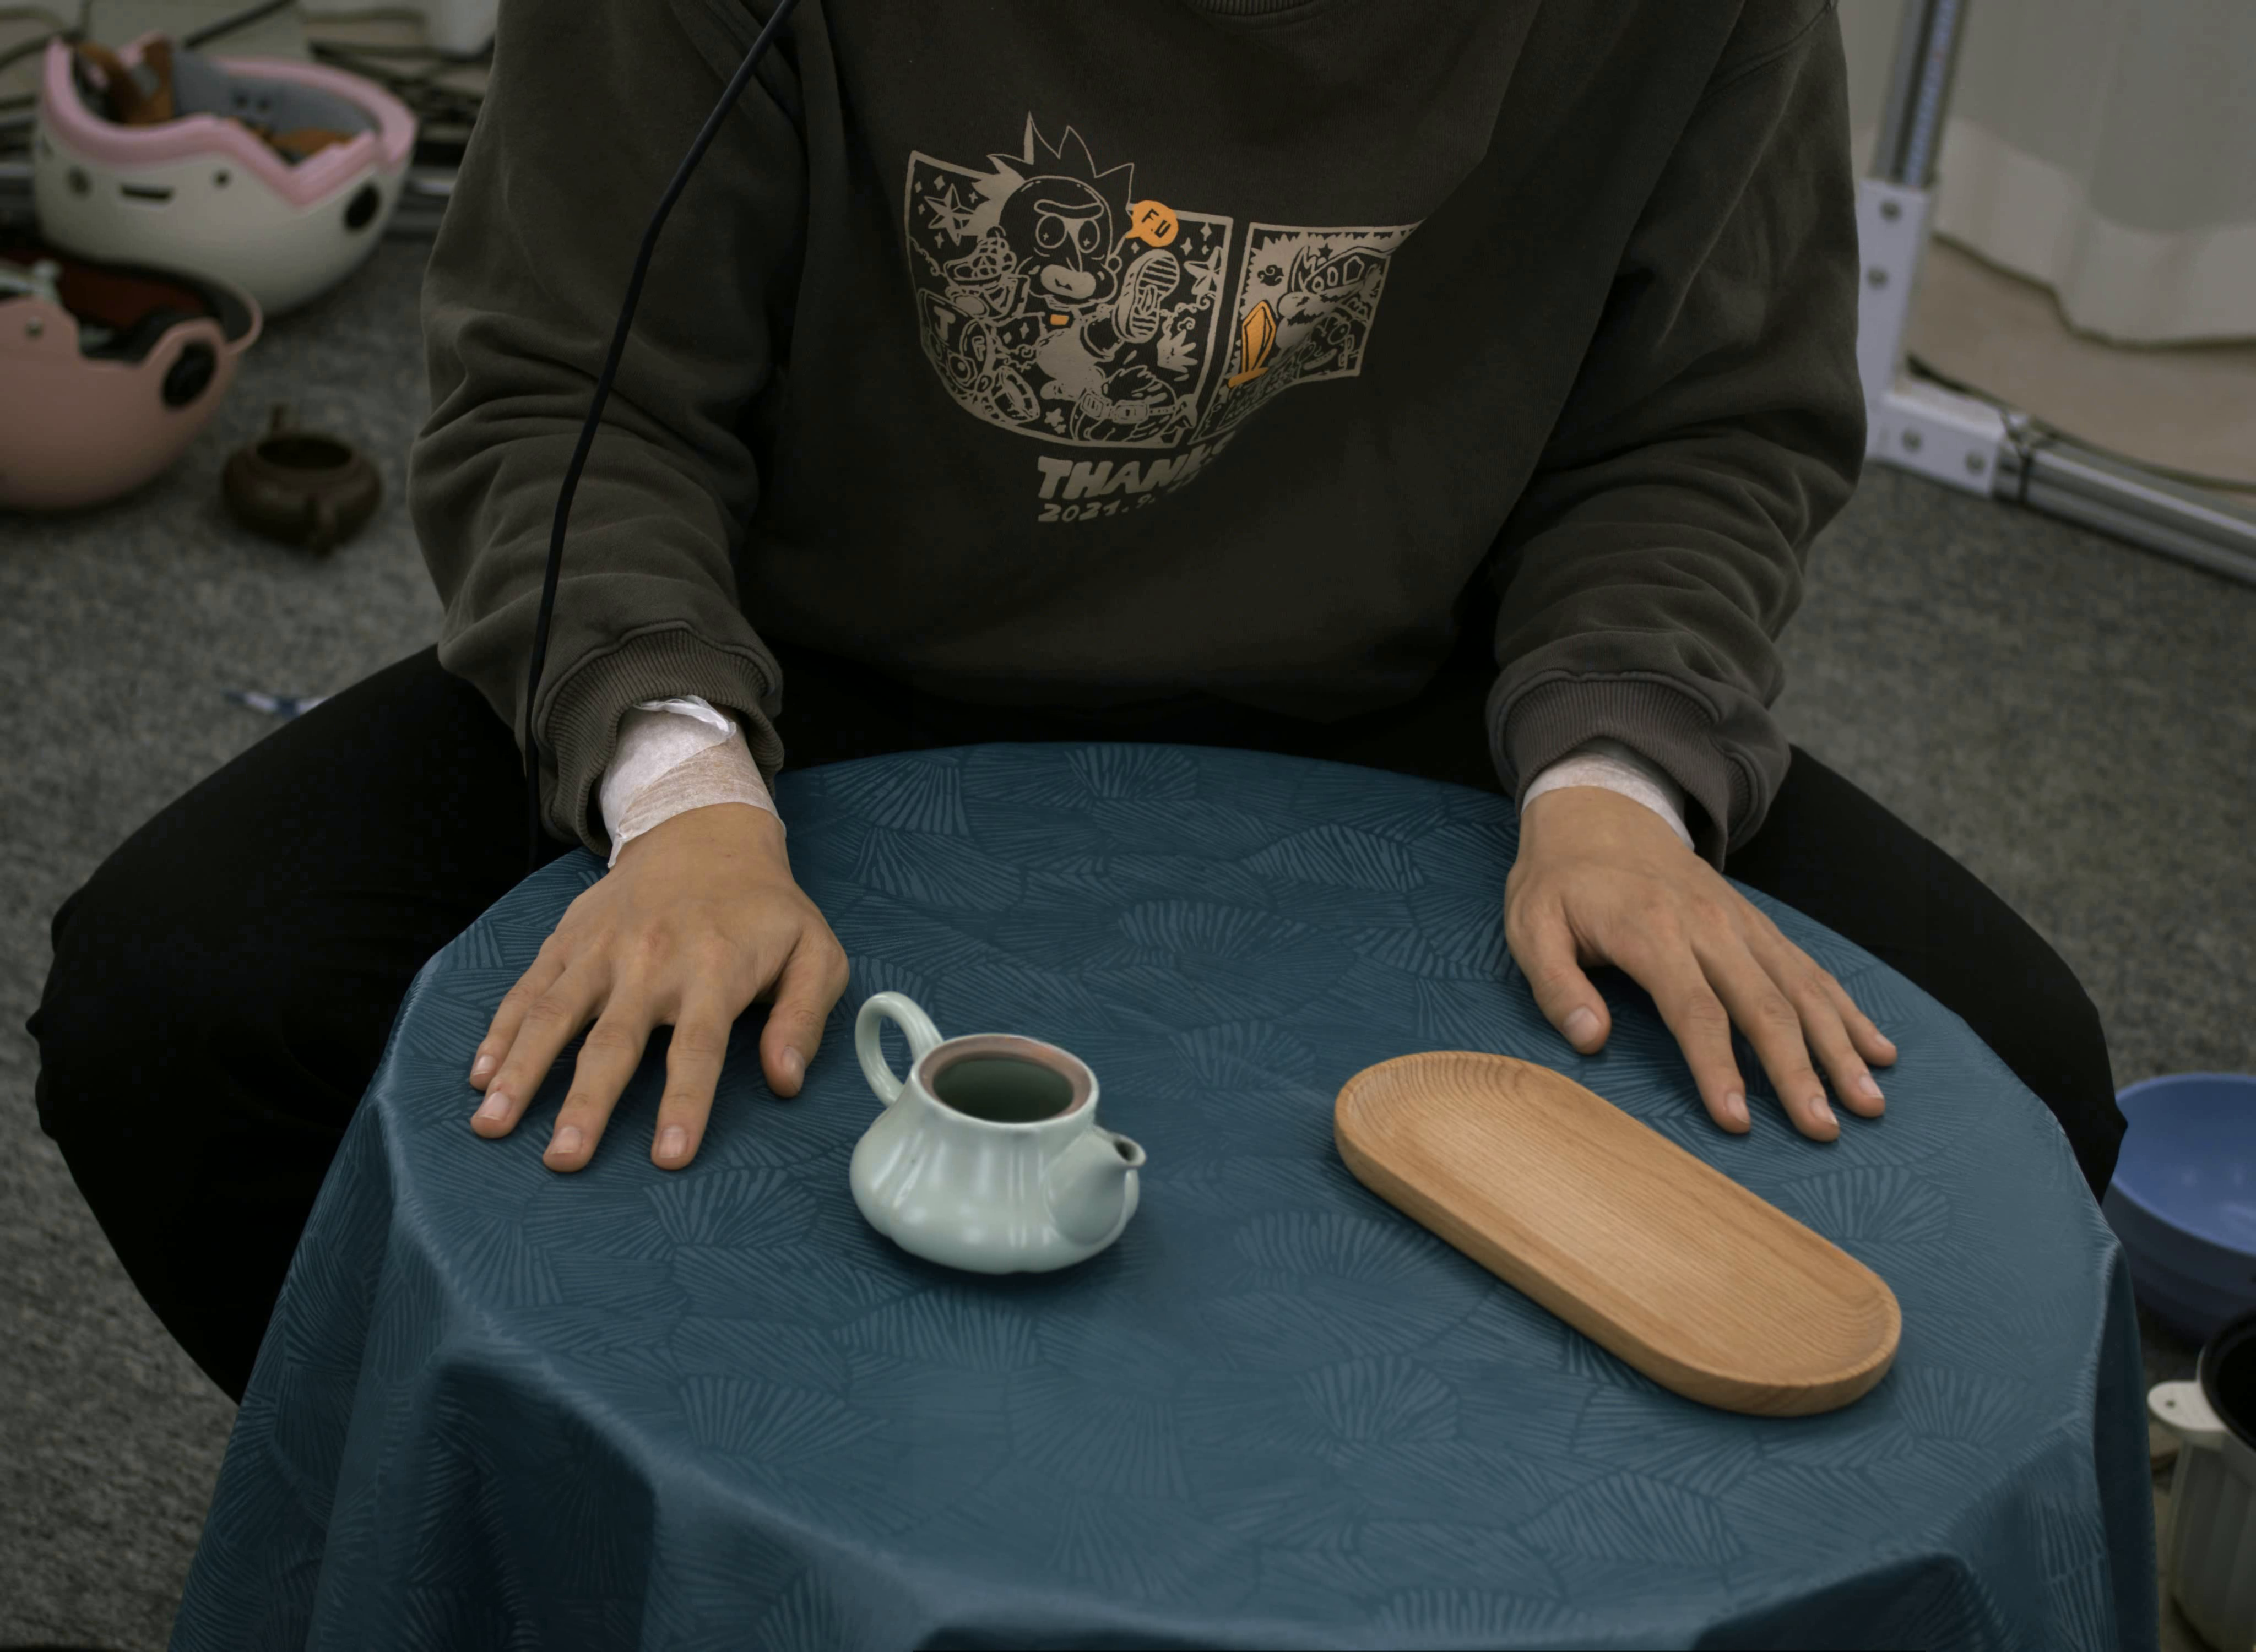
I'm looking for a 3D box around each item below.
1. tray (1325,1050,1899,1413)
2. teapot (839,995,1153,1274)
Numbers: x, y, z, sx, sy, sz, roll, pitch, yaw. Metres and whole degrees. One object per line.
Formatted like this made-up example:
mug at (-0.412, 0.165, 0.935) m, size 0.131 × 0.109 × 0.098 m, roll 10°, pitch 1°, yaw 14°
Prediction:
tray at (0.161, 0.135, 1.798) m, size 0.101 × 0.020 × 0.233 m, roll -16°, pitch 33°, yaw -38°
teapot at (-0.047, 0.104, 1.765) m, size 0.138 × 0.061 × 0.096 m, roll 28°, pitch 35°, yaw 36°
